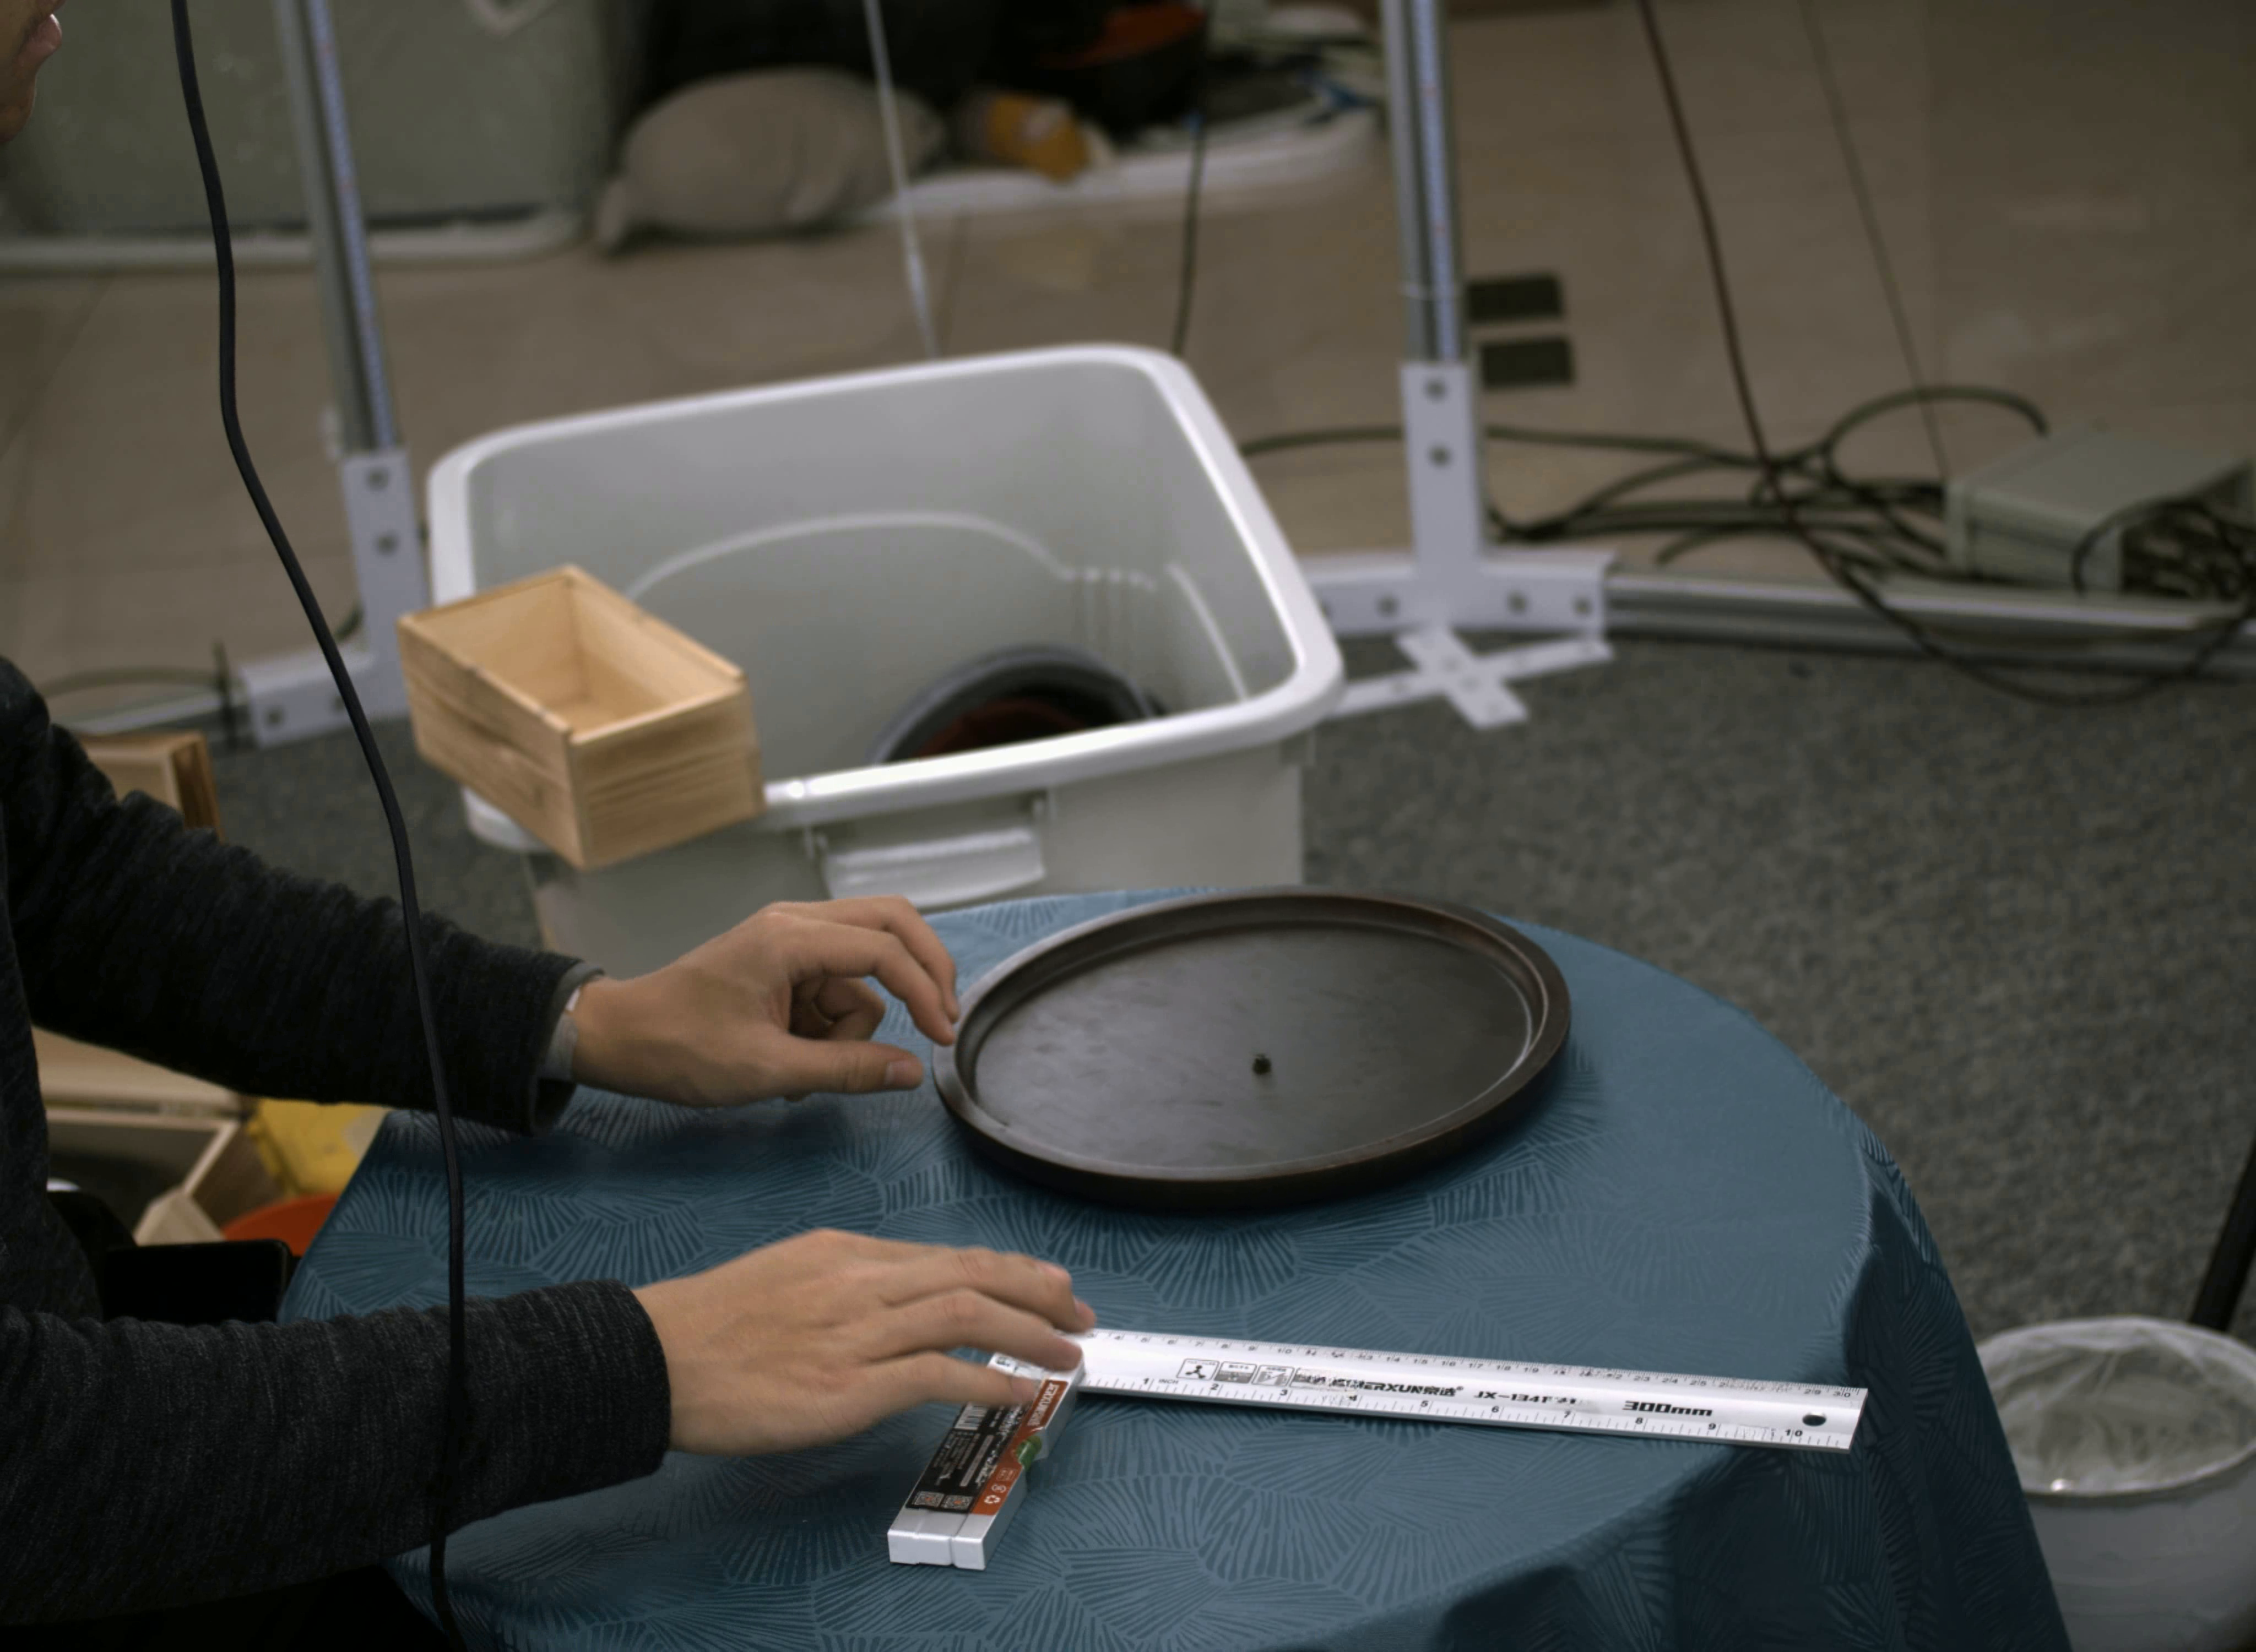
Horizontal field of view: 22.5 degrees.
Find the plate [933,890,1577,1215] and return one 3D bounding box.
[{"bbox_3d":[0.049,0.087,2.220,0.254,0.029,0.251,-4,25,2],"label":"plate"}]

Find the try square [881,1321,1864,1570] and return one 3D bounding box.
[{"bbox_3d":[0.084,0.219,1.946,0.312,0.016,0.150,3,27,17],"label":"try square"}]
